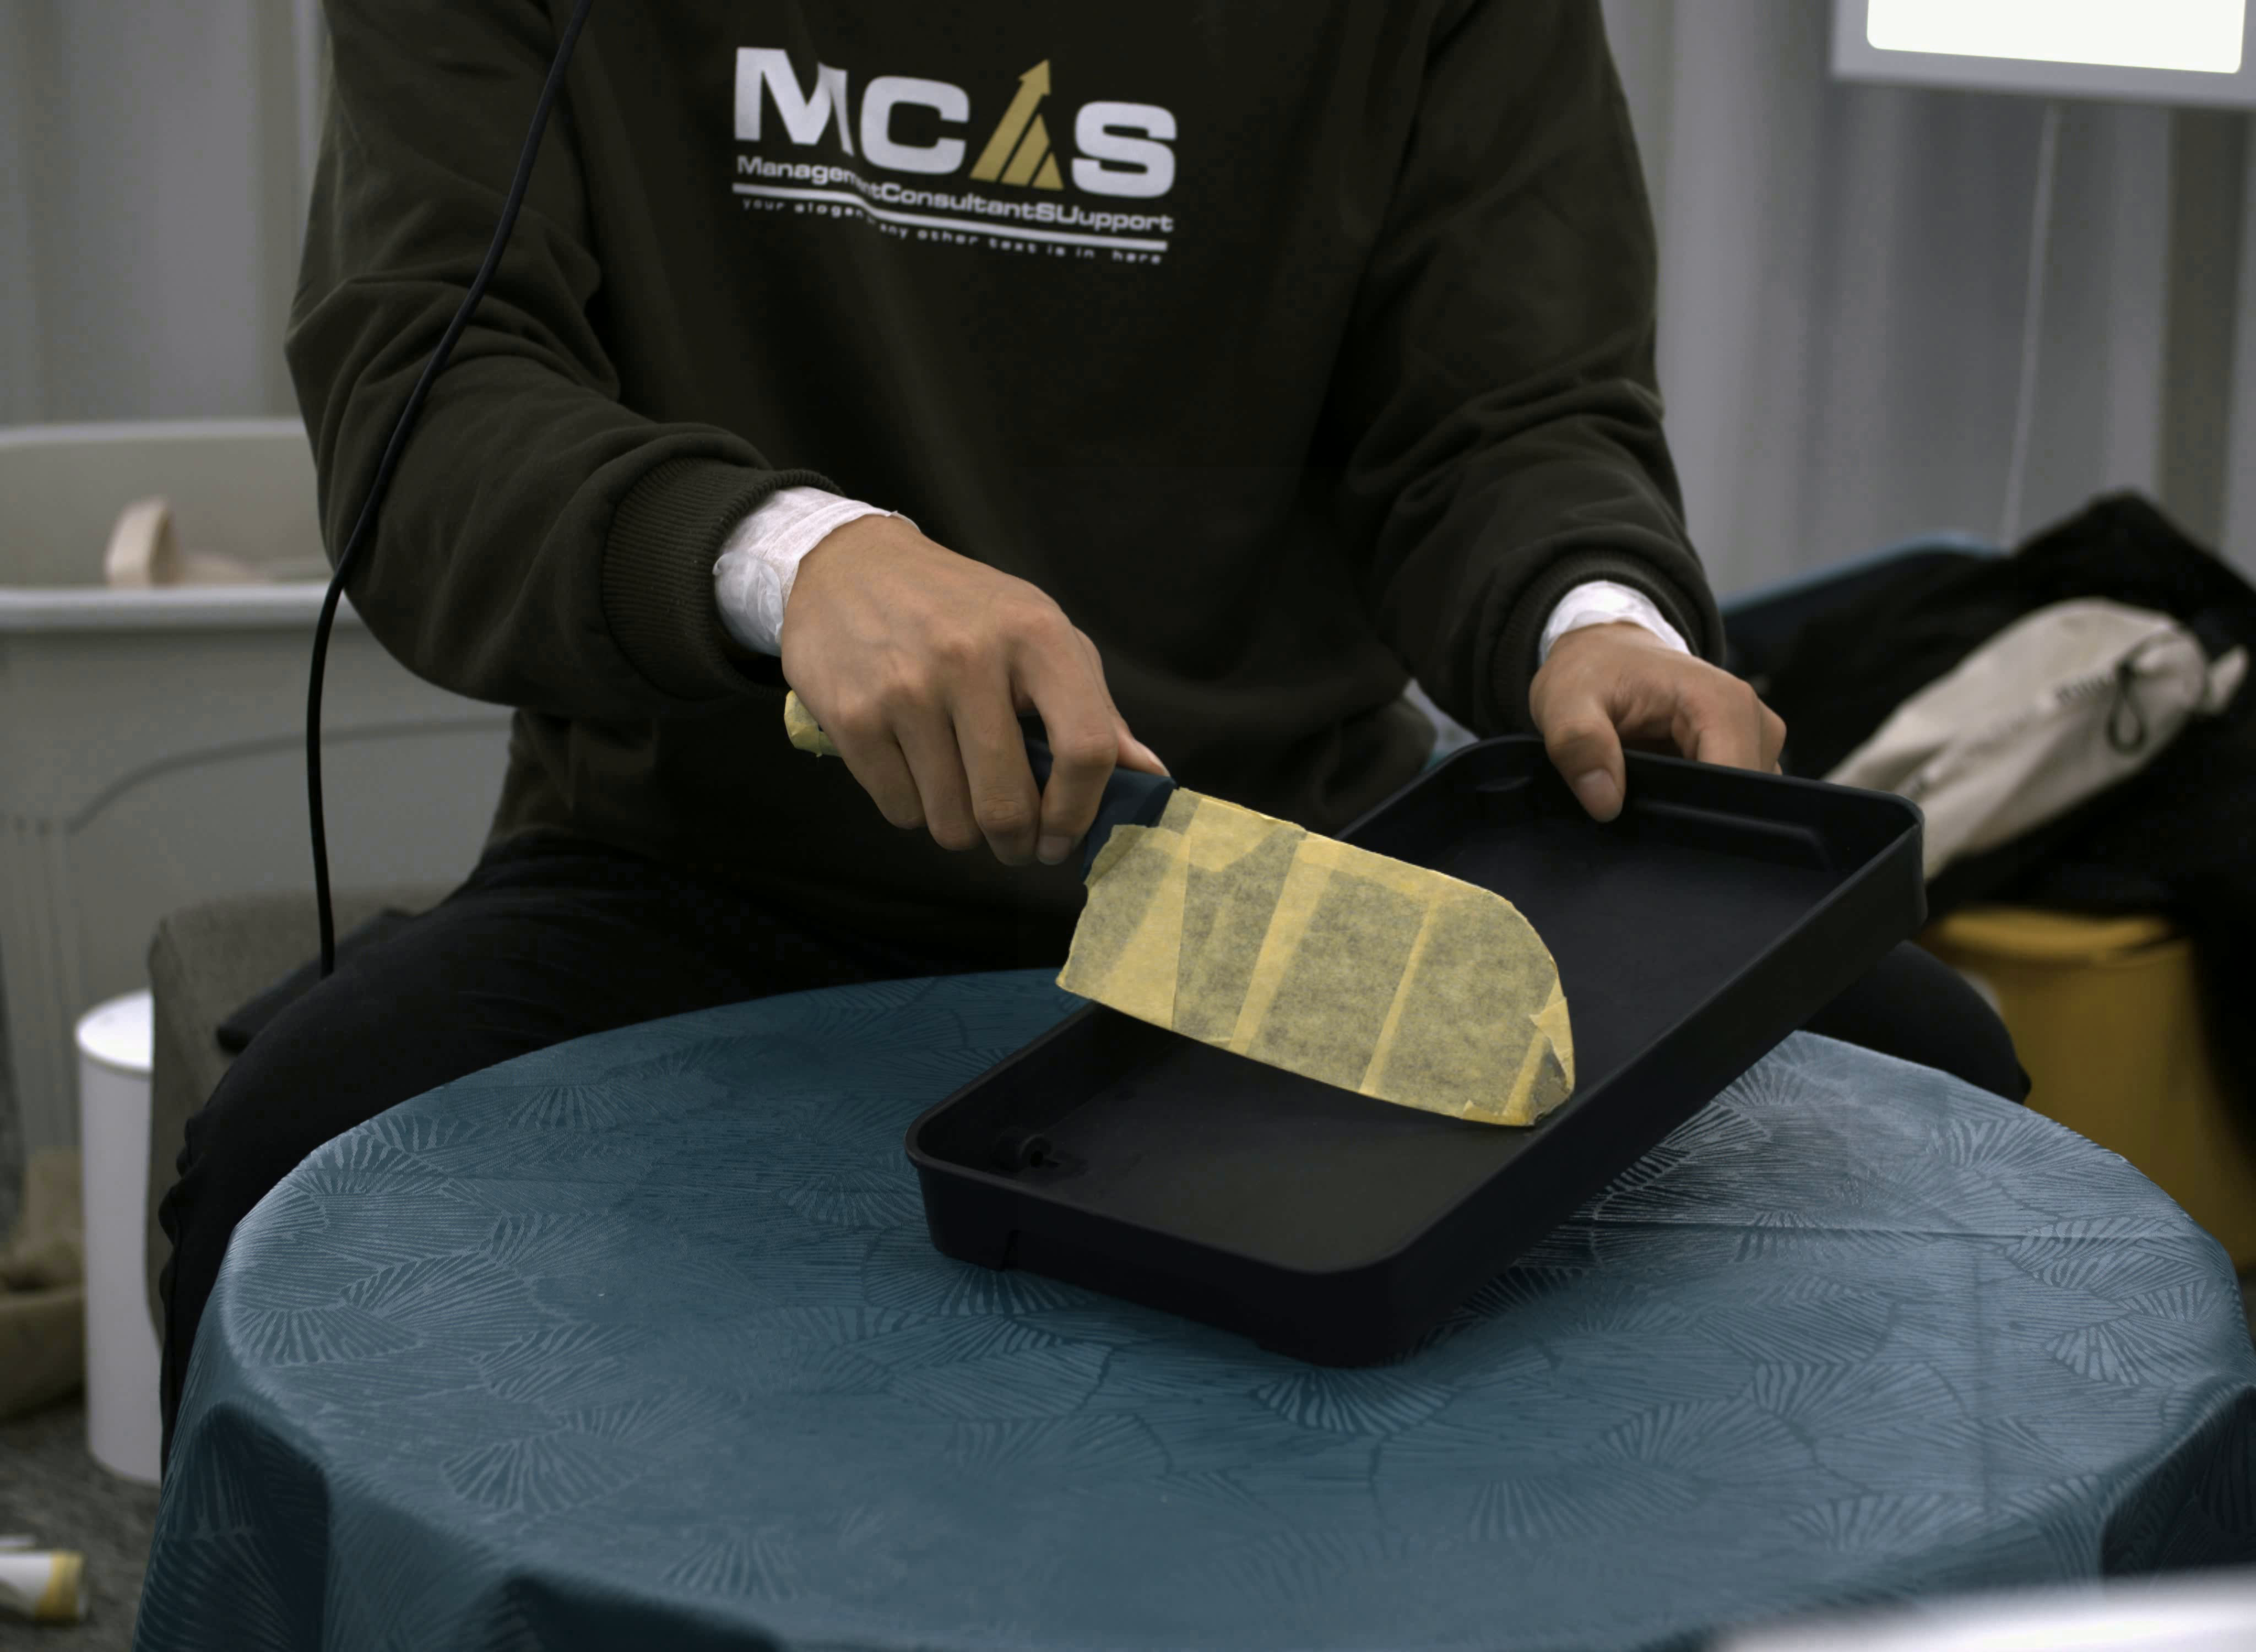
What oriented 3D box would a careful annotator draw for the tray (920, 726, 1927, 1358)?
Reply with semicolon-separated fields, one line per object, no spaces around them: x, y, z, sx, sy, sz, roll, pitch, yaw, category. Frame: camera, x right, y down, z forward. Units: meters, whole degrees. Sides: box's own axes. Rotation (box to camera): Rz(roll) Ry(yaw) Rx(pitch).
0.098;0.058;1.623;0.182;0.037;0.318;10;32;38;tray

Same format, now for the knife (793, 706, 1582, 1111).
0.013;0.023;1.632;0.286;0.081;0.027;21;-9;24;knife
